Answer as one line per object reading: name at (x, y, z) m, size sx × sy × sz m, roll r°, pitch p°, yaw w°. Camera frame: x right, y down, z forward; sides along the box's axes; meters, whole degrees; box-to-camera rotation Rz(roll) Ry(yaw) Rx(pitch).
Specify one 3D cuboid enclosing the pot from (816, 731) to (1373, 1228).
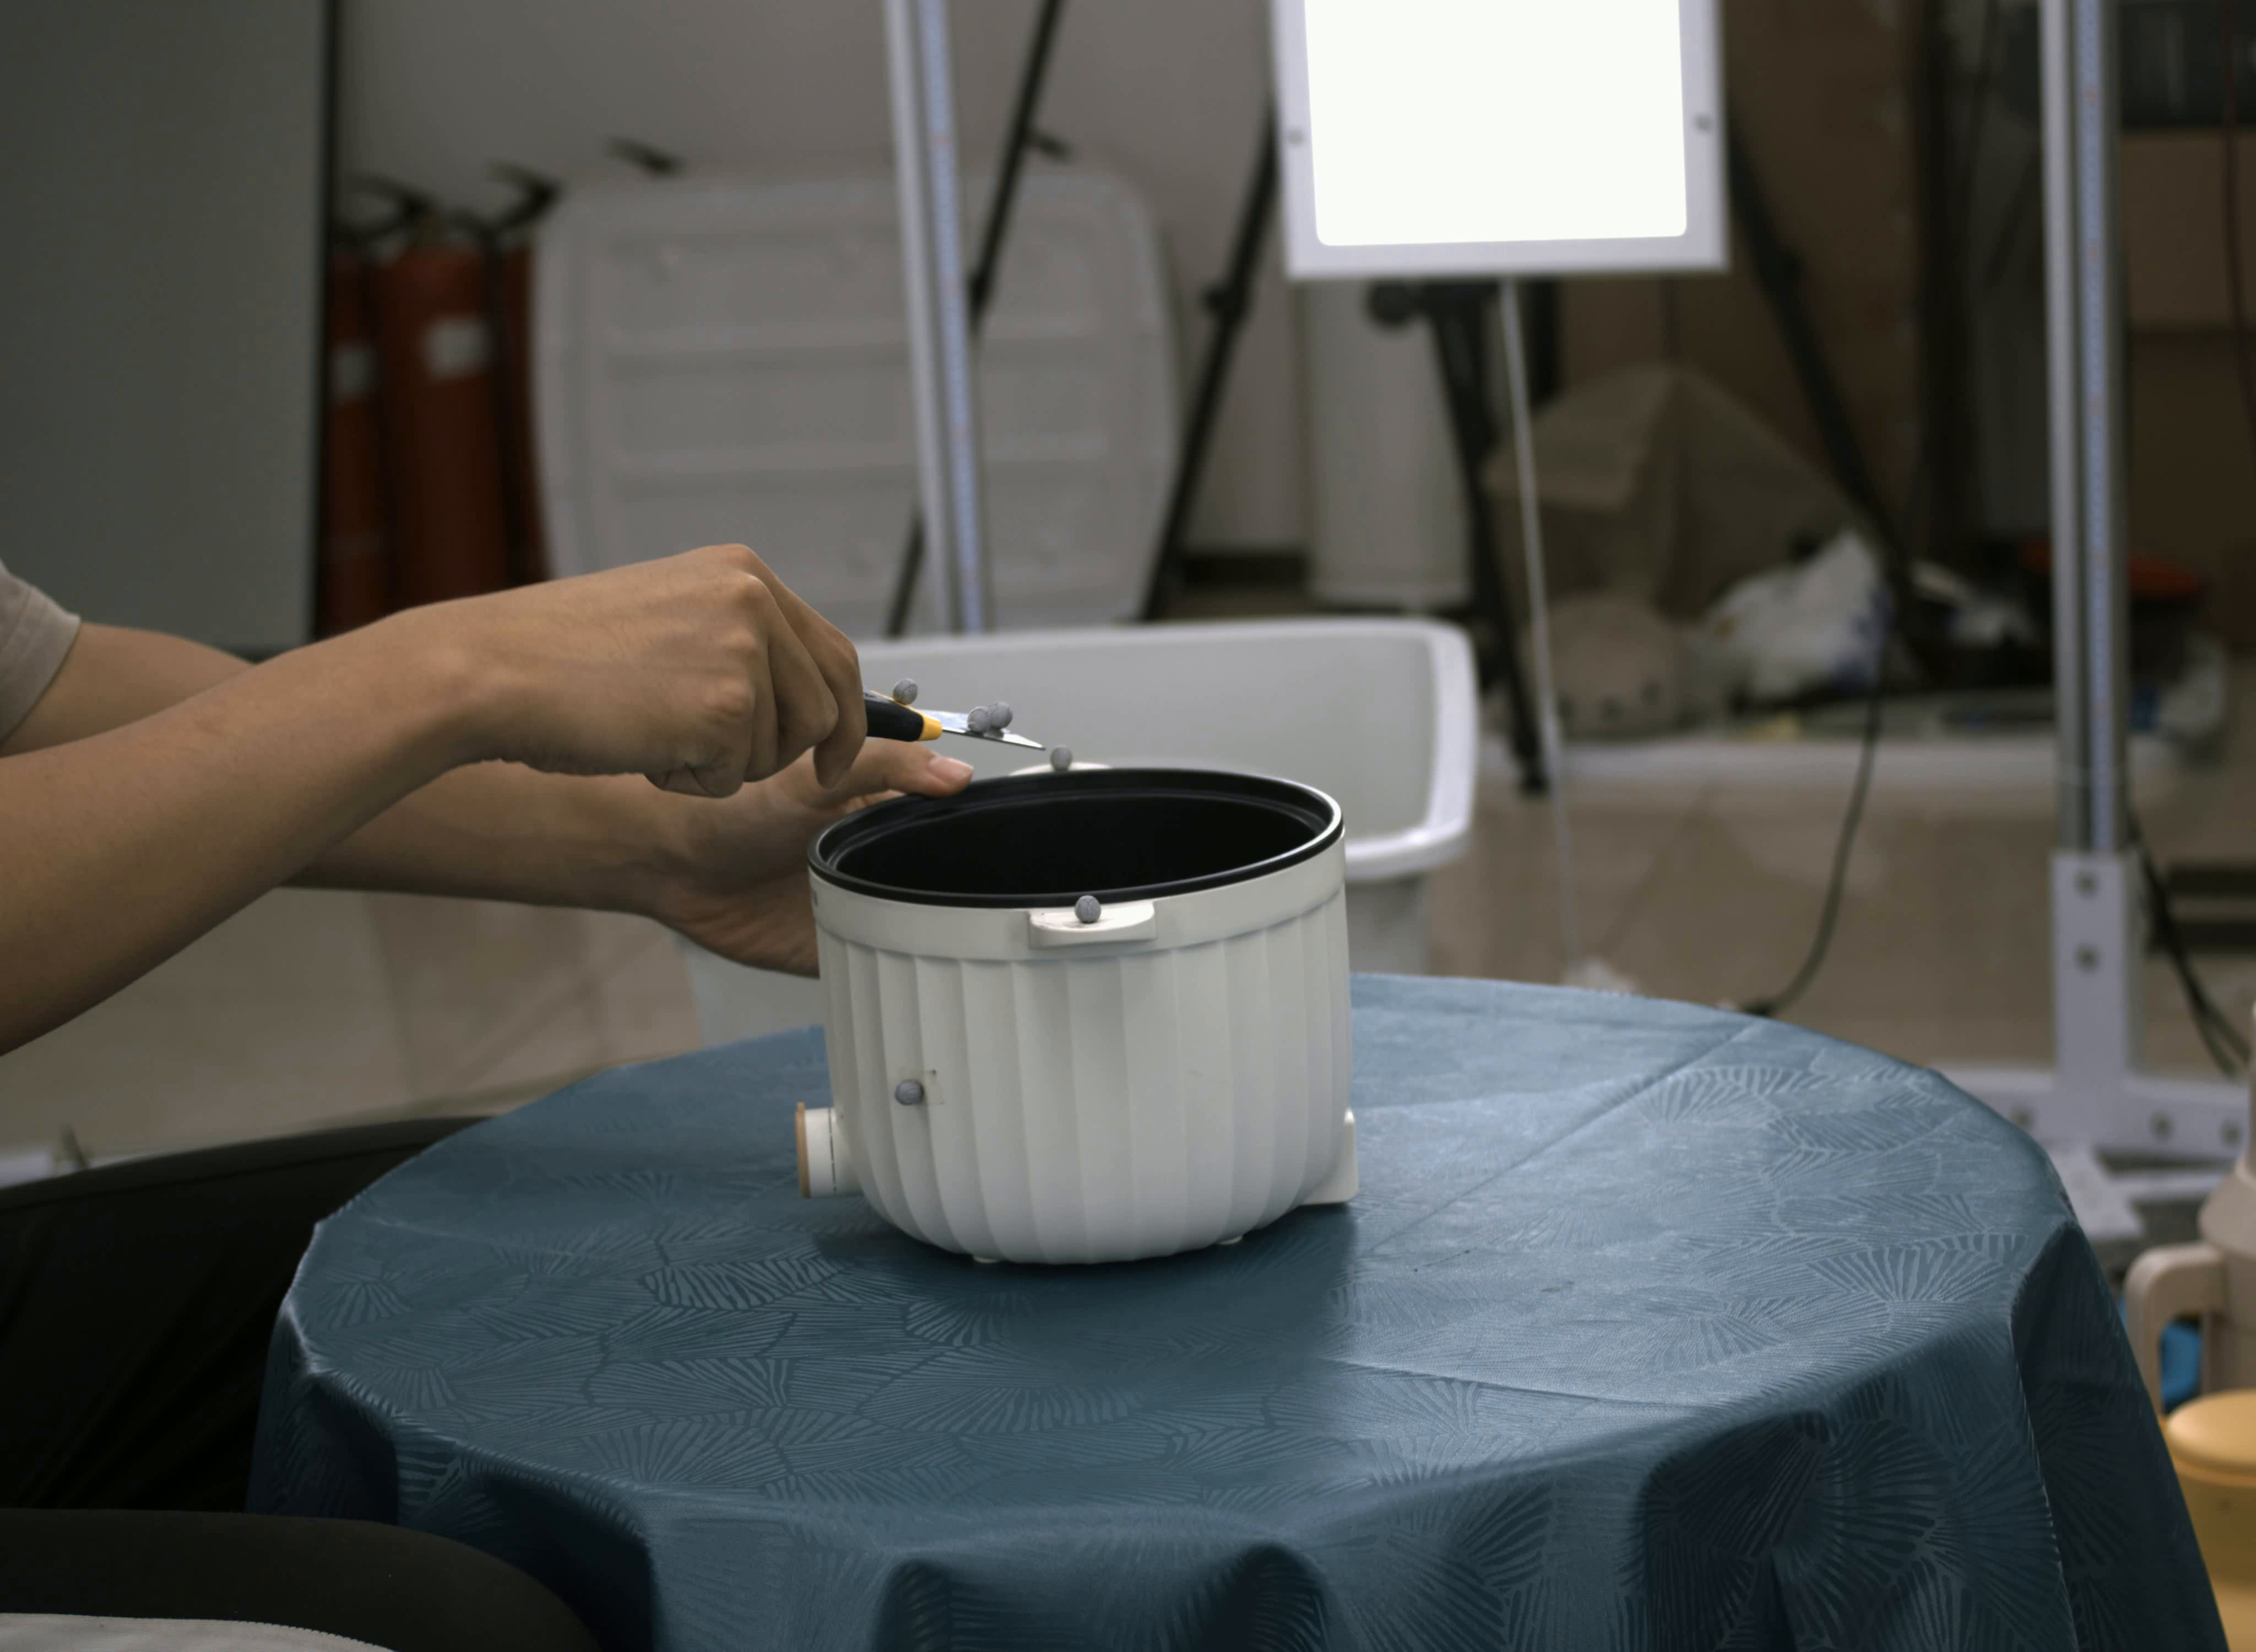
pot at (-0.012, 0.055, 1.875) m, size 0.189 × 0.143 × 0.240 m, roll -1°, pitch 12°, yaw -3°

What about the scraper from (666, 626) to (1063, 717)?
scraper at (-0.084, -0.048, 1.760) m, size 0.039 × 0.015 × 0.167 m, roll 31°, pitch 16°, yaw 36°
